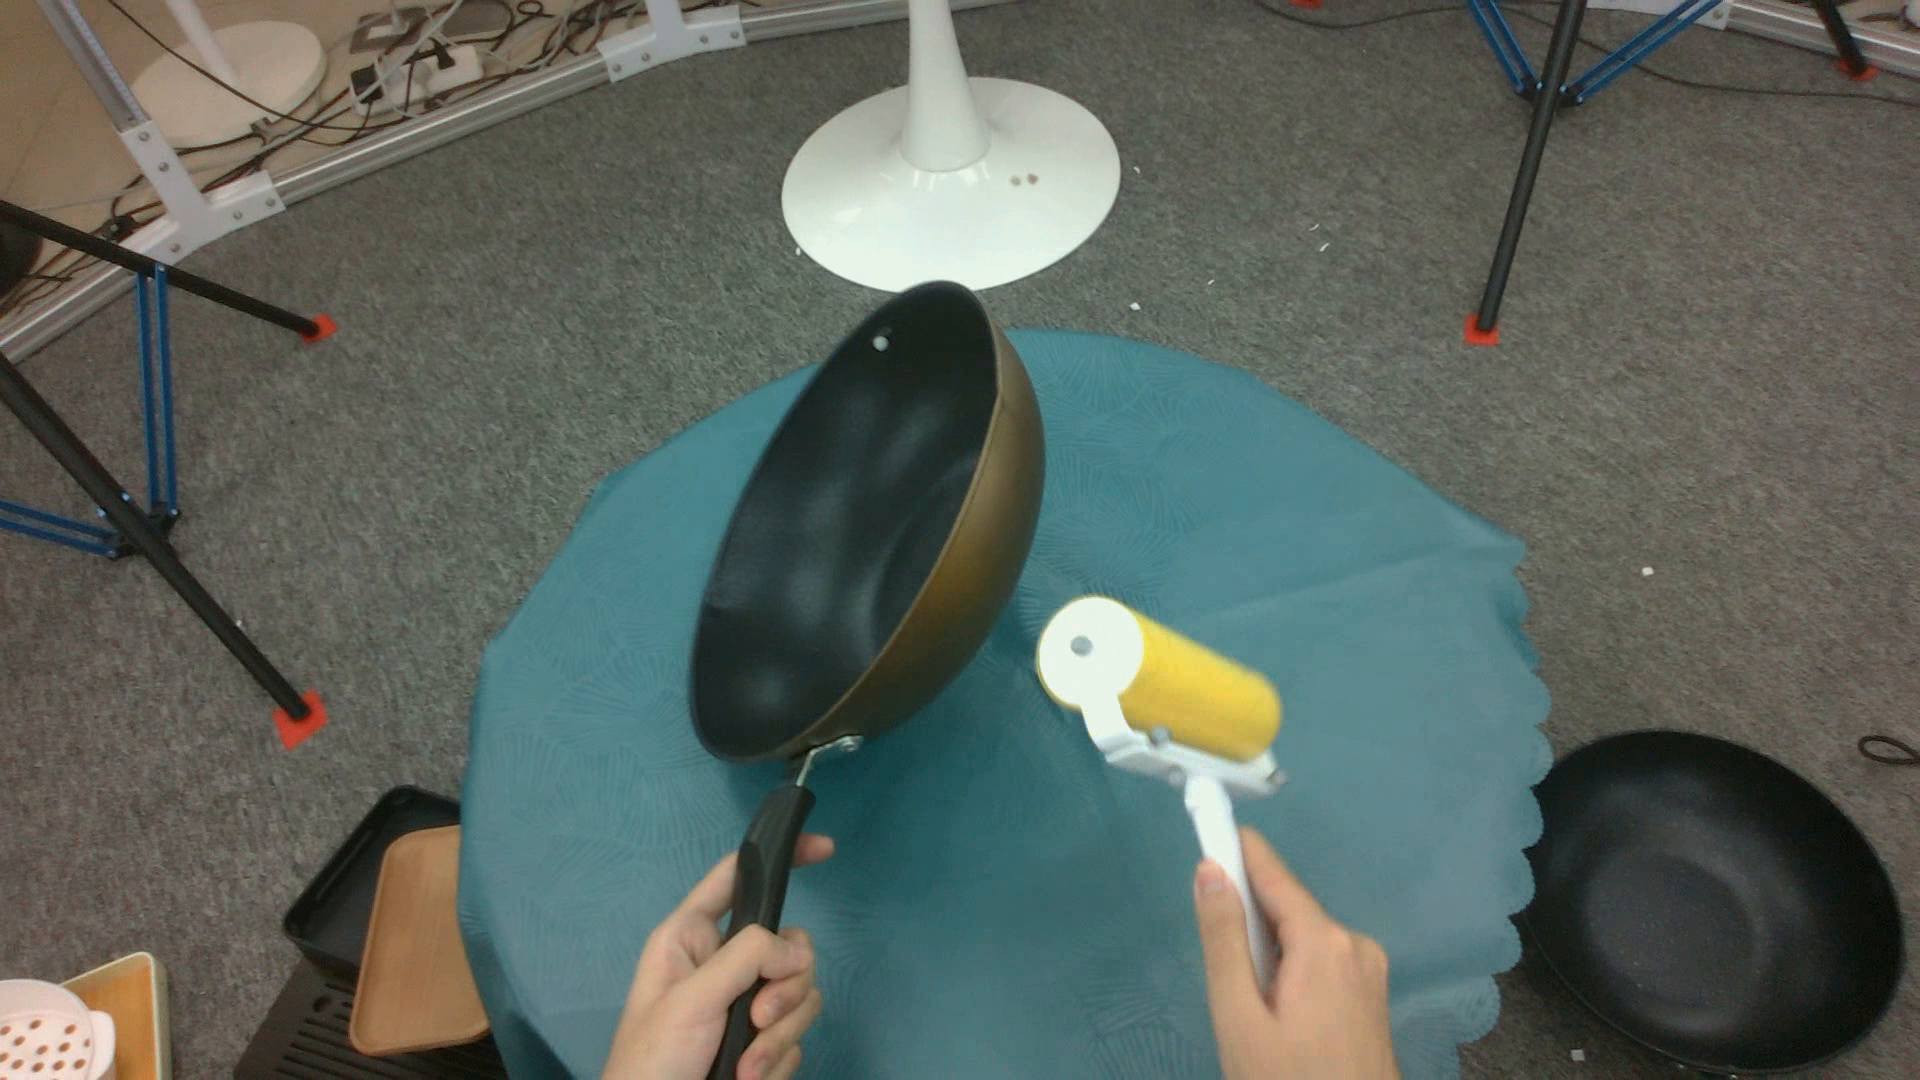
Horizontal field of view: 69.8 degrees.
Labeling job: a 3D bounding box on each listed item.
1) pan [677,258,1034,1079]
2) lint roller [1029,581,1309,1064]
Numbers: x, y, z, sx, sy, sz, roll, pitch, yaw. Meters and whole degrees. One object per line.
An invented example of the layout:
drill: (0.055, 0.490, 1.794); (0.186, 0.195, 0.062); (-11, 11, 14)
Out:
pan: (-0.057, 0.070, 0.693); (0.087, 0.287, 0.465); (26, 54, -29)
lint roller: (0.115, 0.117, 0.581); (0.051, 0.174, 0.192); (-36, 59, 22)
